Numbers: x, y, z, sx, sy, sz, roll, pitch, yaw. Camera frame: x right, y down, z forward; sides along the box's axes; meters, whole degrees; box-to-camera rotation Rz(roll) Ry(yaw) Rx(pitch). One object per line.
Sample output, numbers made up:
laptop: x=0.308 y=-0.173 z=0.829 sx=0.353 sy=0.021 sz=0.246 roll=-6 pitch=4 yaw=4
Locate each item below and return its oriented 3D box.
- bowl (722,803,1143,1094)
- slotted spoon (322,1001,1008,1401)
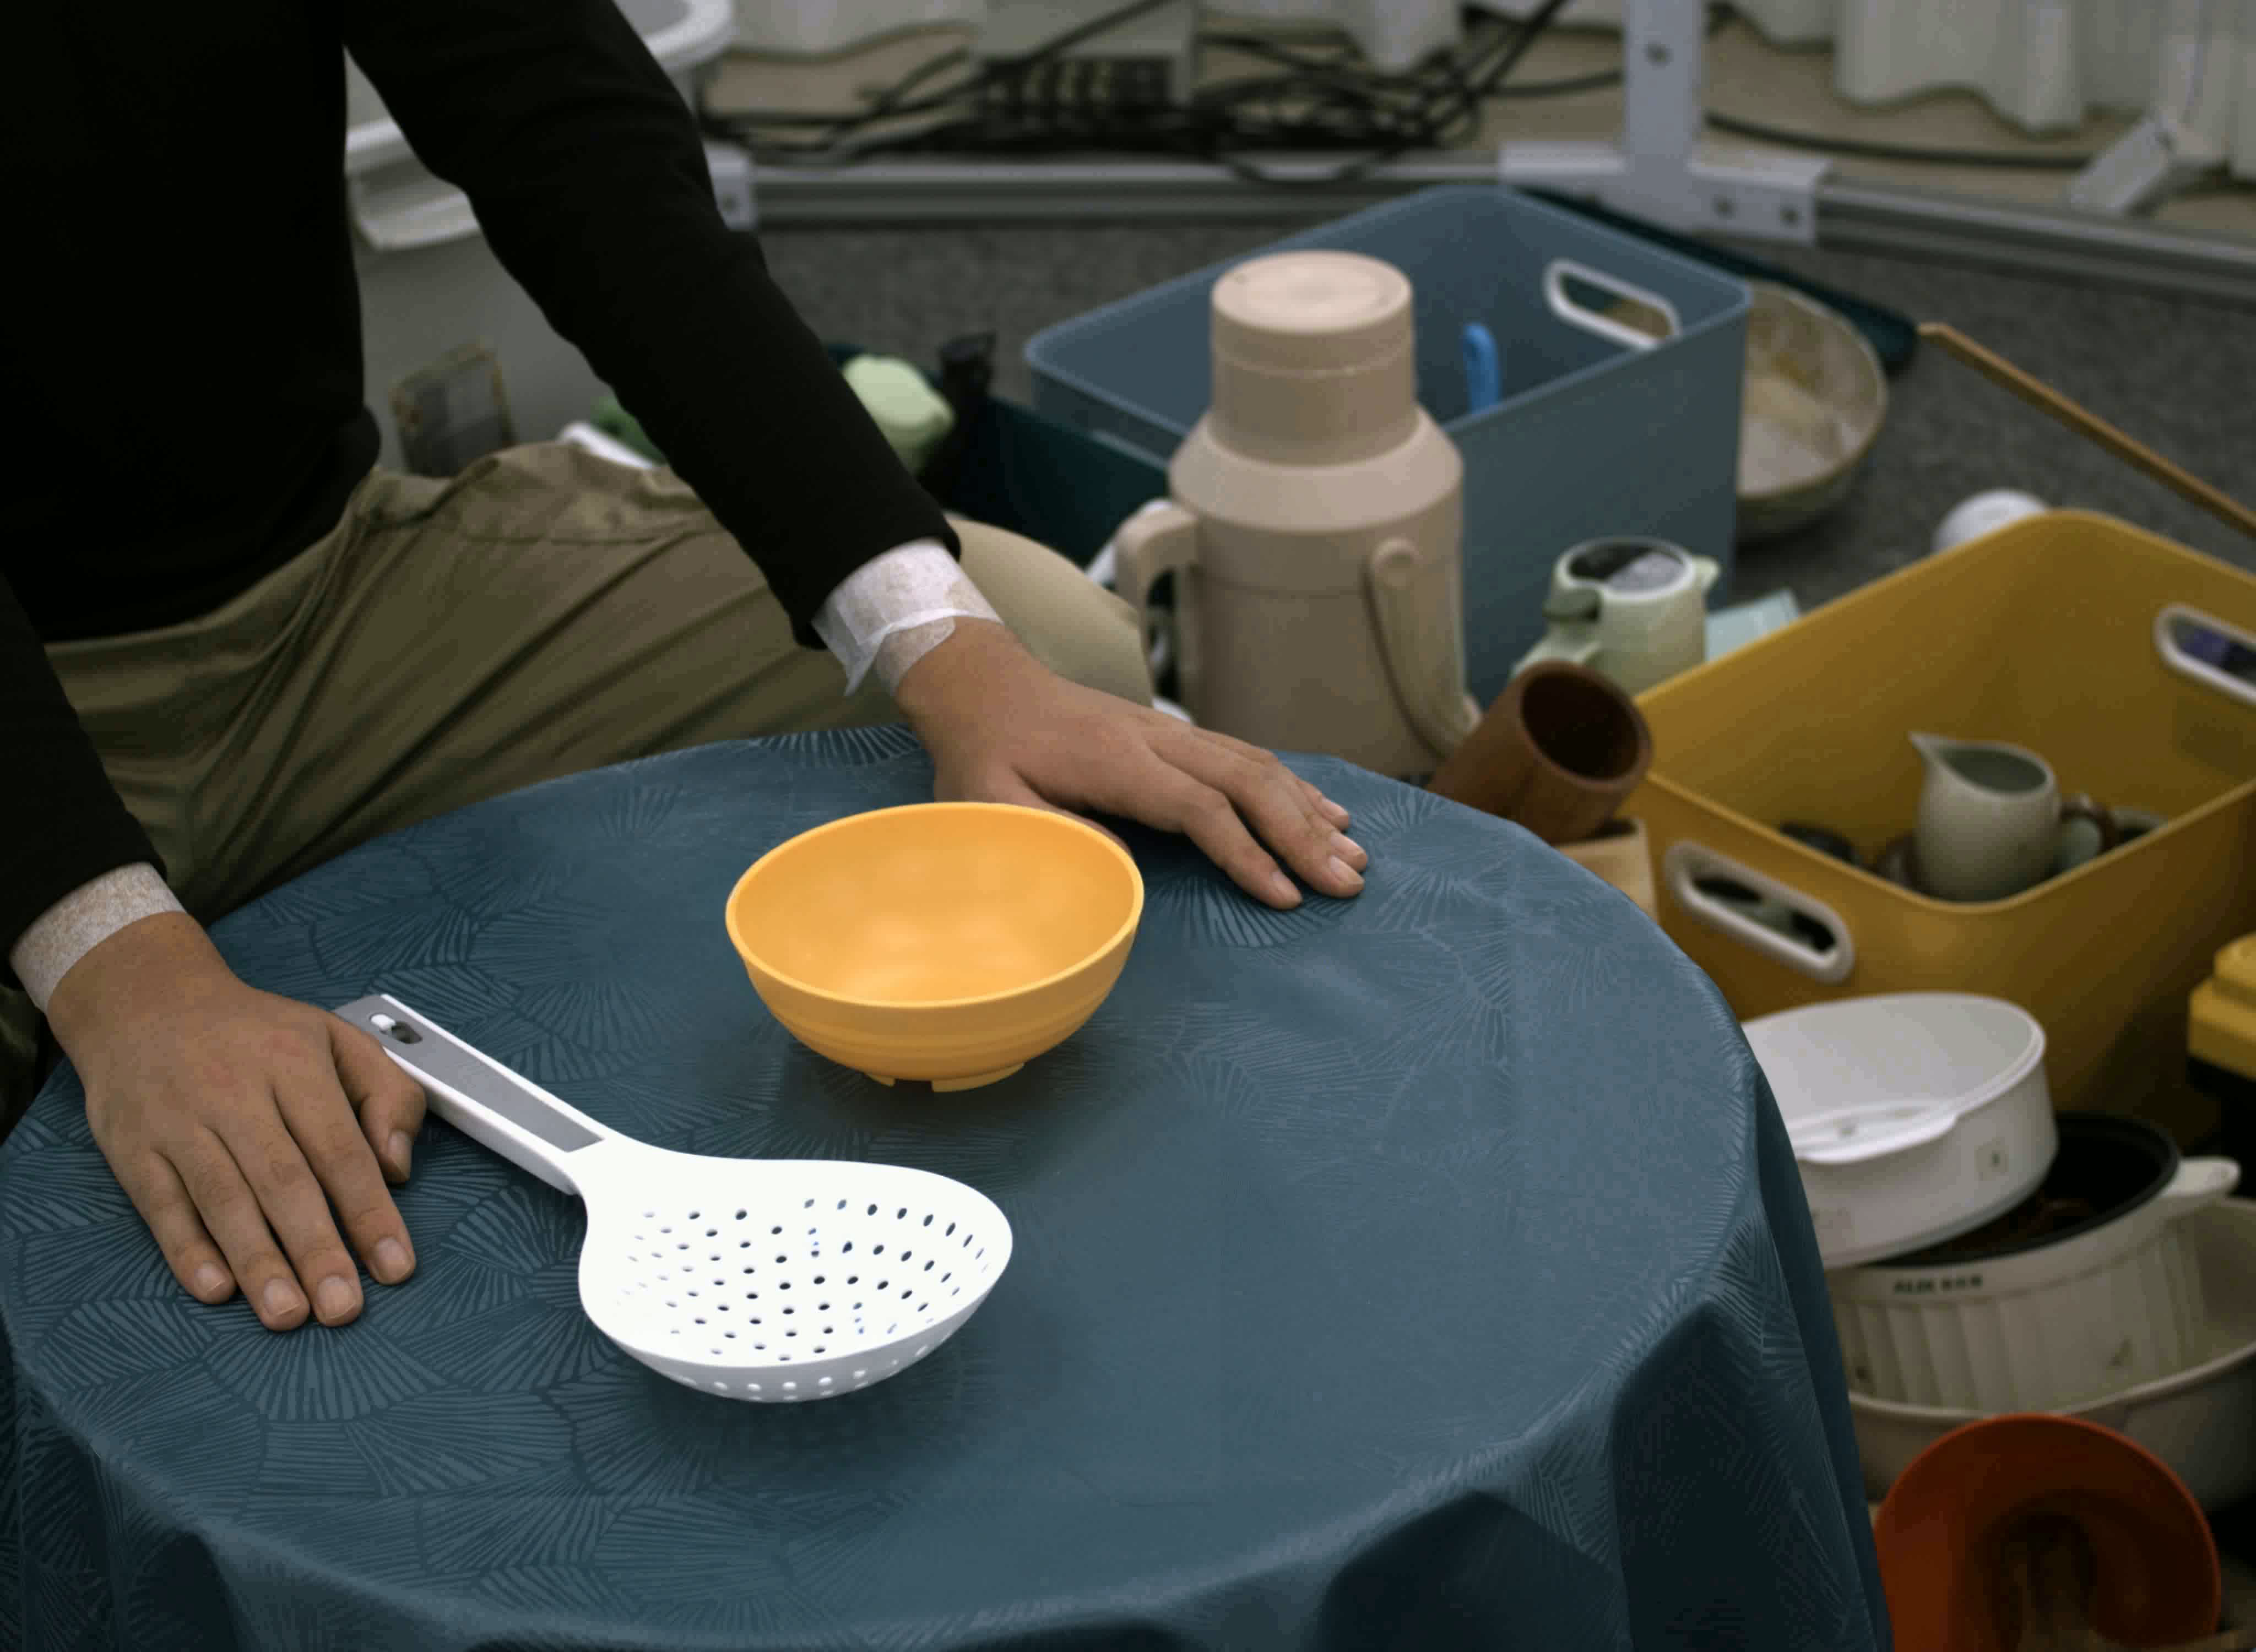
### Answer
bowl: x=-0.067 y=0.052 z=1.942 sx=0.144 sy=0.059 sz=0.147 roll=-1 pitch=28 yaw=1
slotted spoon: x=-0.169 y=0.115 z=1.841 sx=0.137 sy=0.045 sz=0.350 roll=-21 pitch=31 yaw=-32
